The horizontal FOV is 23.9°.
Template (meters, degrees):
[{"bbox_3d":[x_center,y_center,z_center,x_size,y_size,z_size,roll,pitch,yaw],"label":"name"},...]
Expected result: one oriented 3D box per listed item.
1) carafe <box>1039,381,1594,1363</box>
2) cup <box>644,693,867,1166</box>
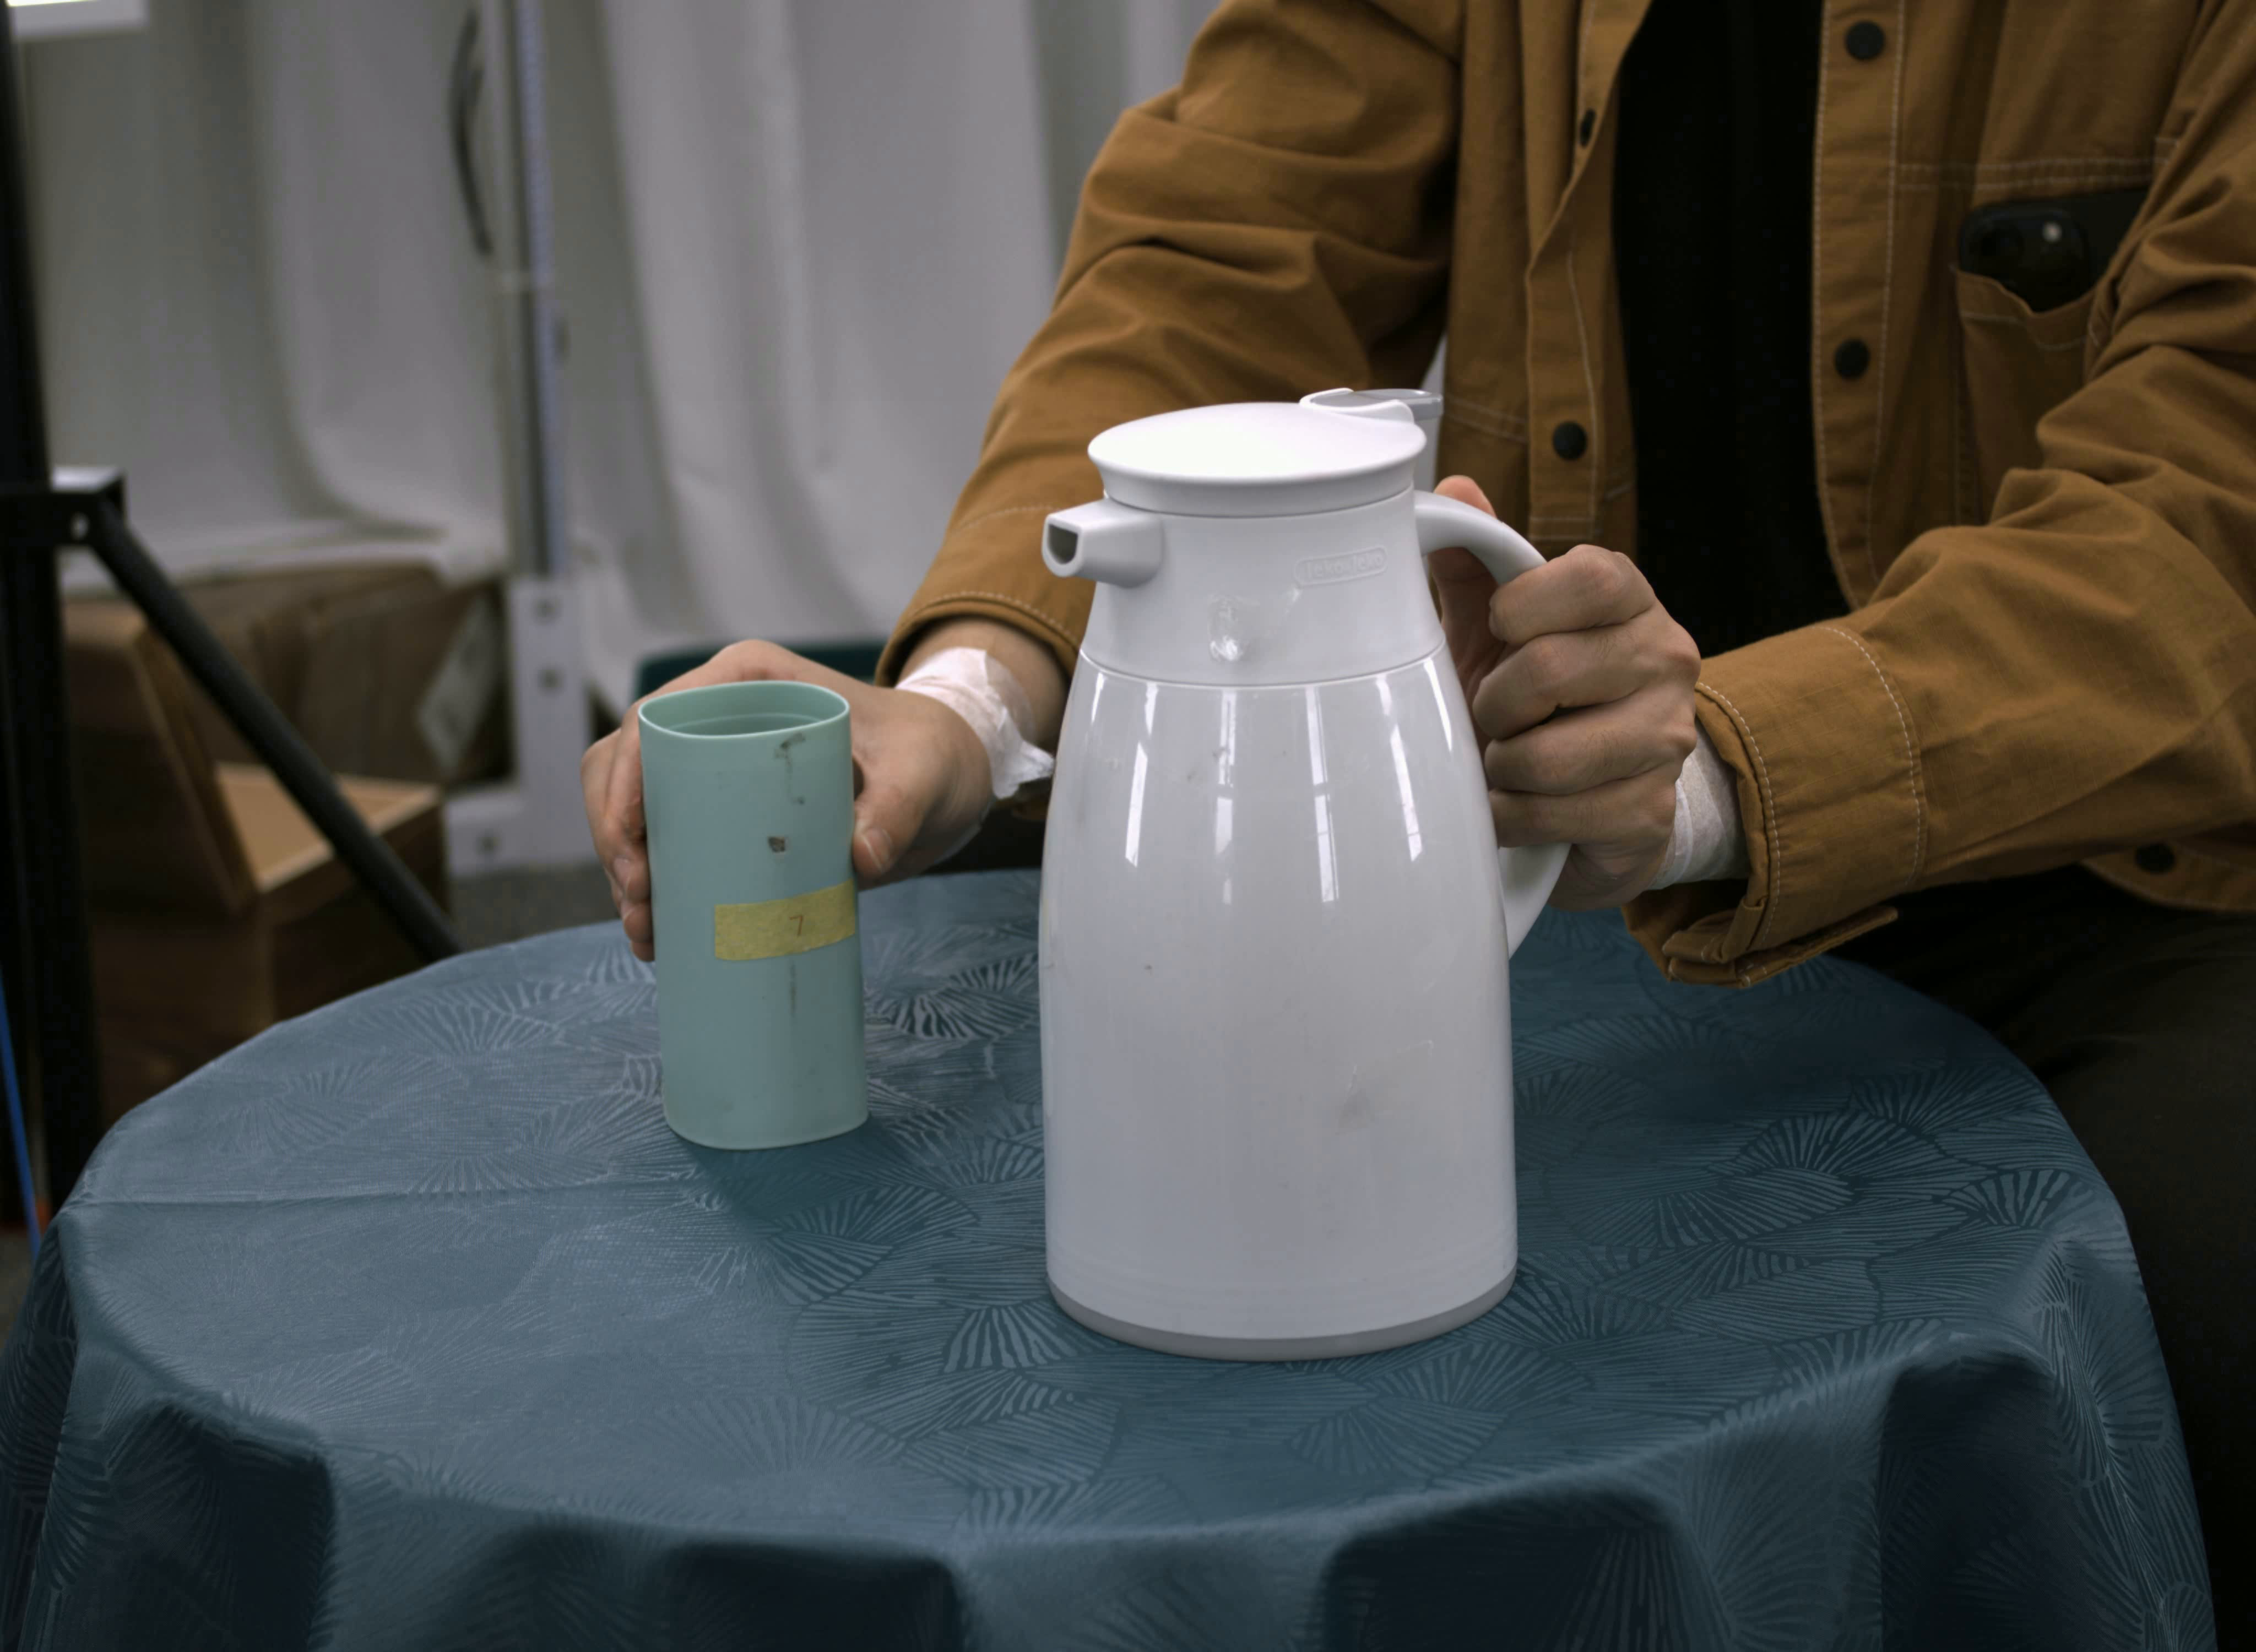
[{"bbox_3d":[0.055,0.004,1.460,0.164,0.248,0.135,-10,17,-29],"label":"carafe"},{"bbox_3d":[-0.113,0.030,1.623,0.066,0.132,0.067,-2,15,-1],"label":"cup"}]
